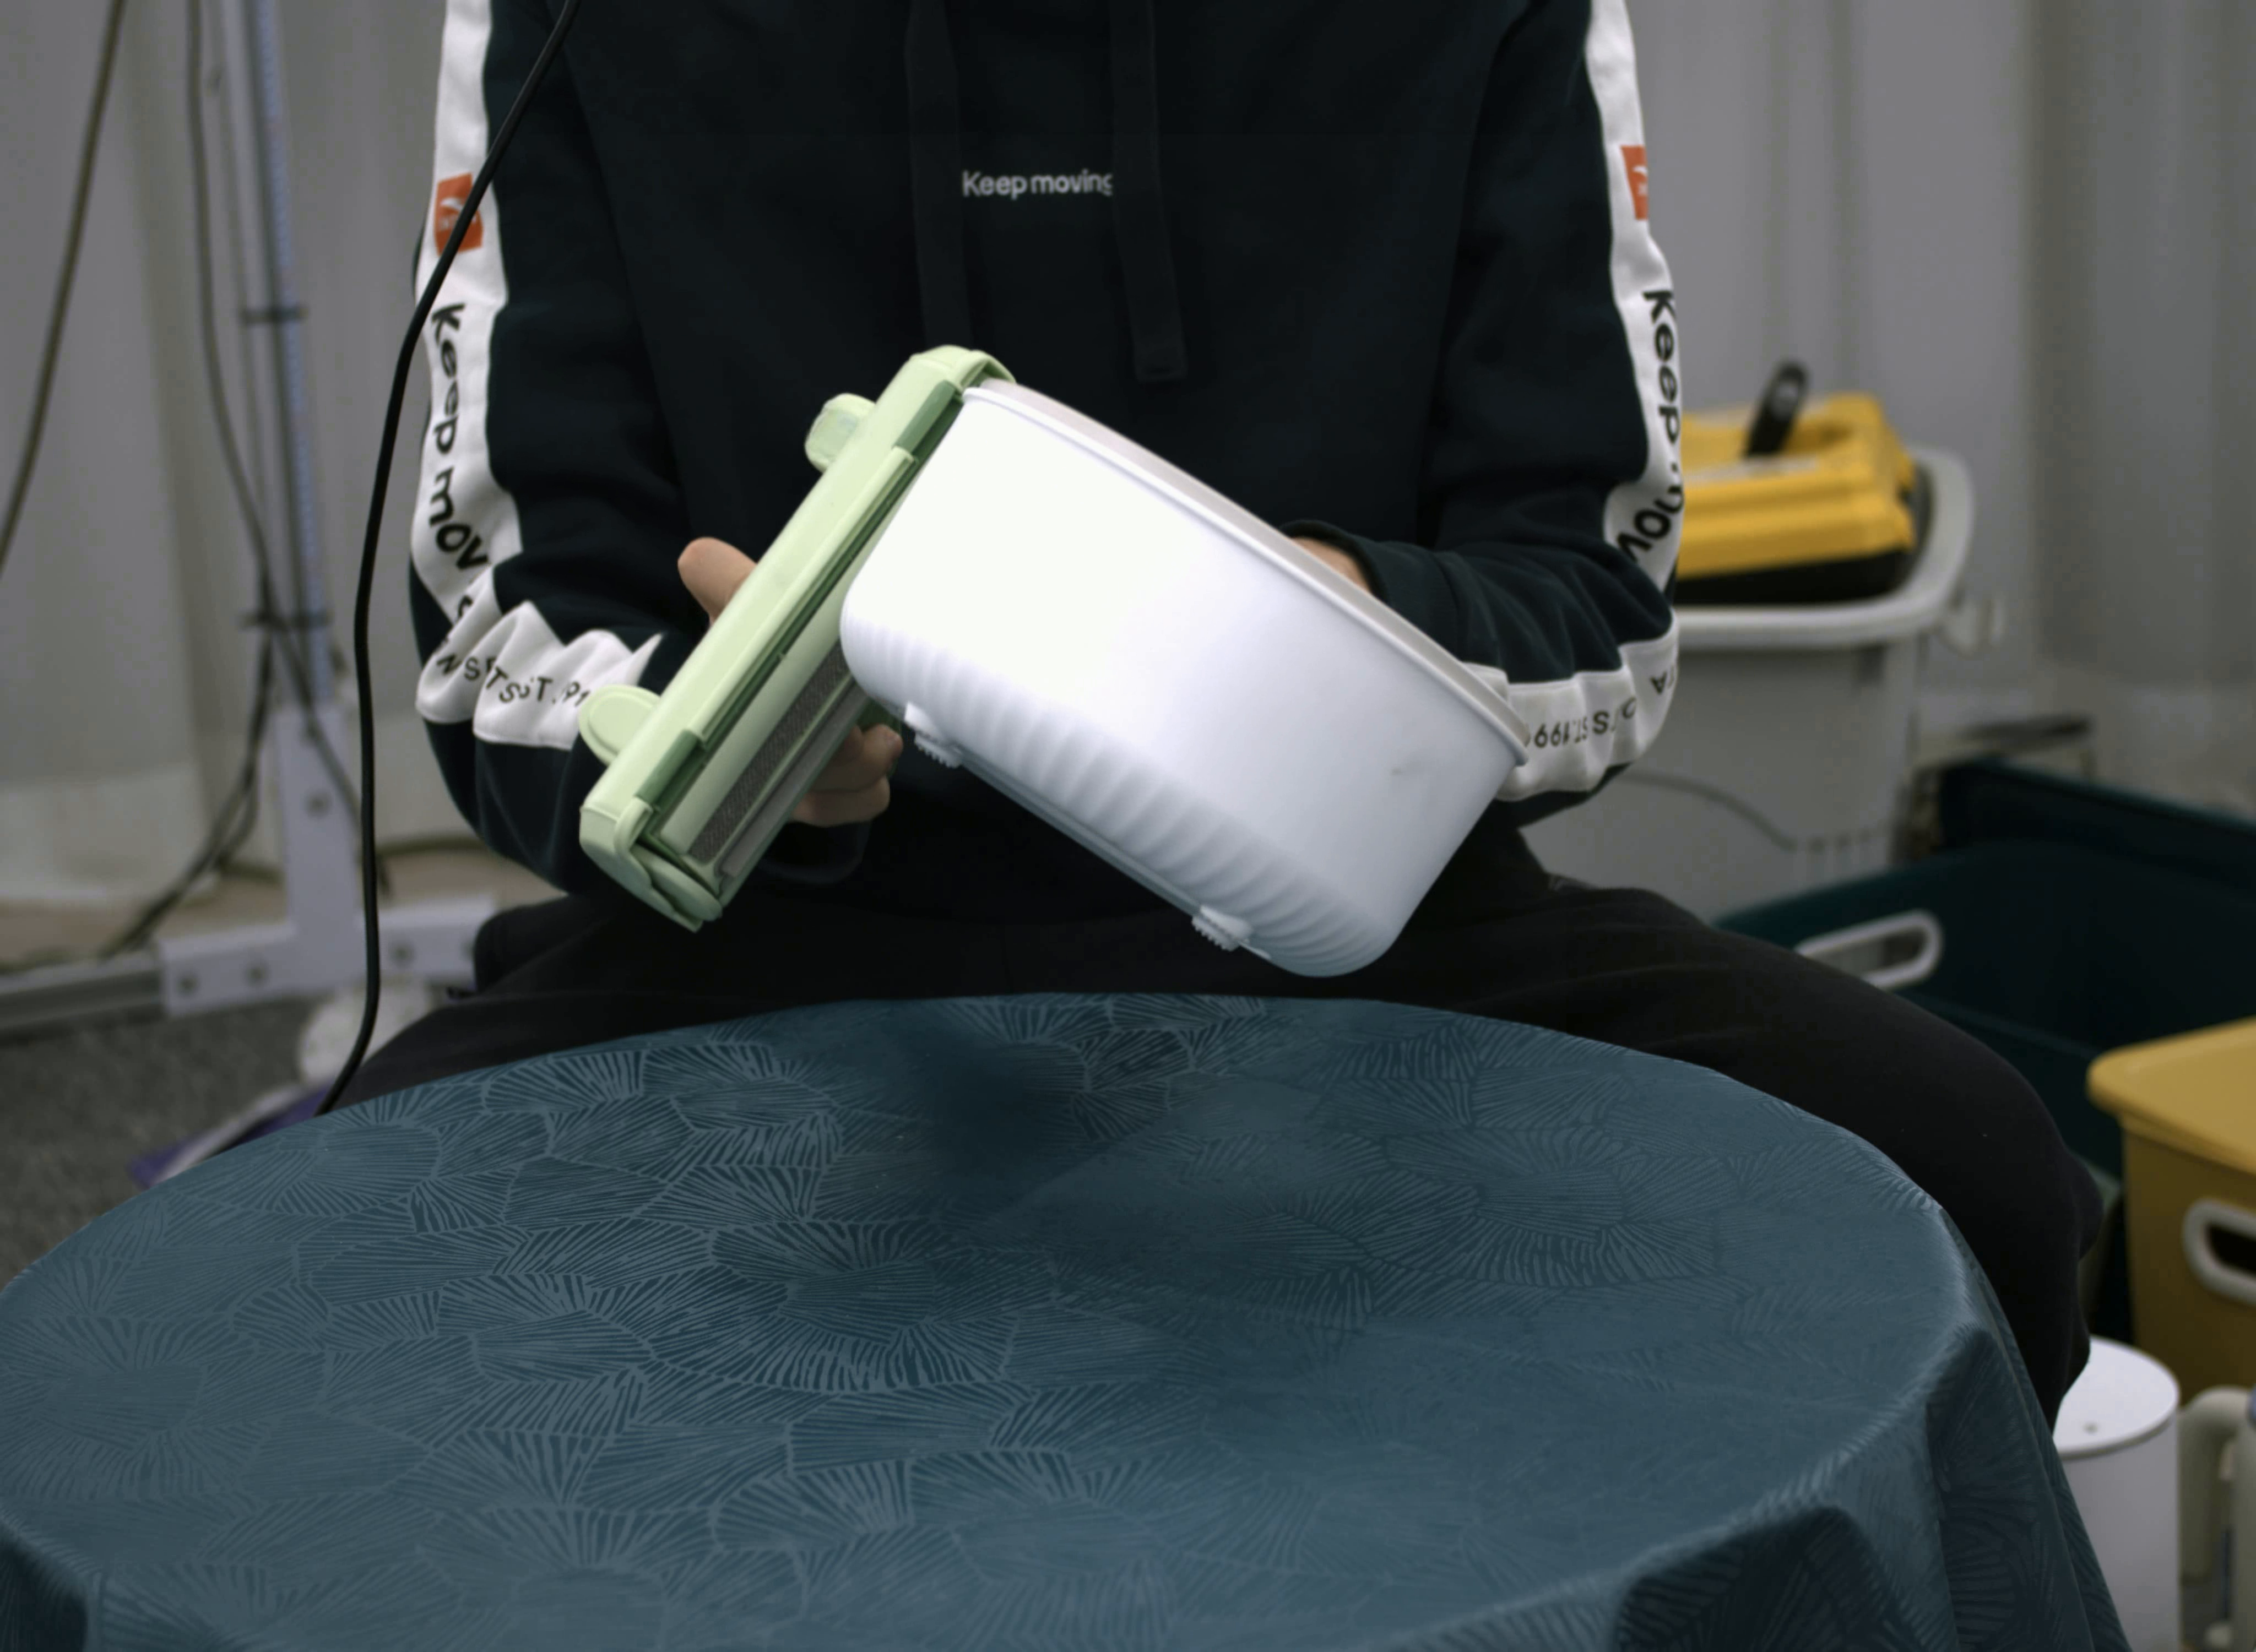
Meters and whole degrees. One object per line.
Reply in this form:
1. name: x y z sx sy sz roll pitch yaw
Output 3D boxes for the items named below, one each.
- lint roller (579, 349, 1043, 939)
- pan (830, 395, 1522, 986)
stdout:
1. lint roller: -0.109 -0.053 1.752 0.082 0.199 0.182 35 -13 -1
2. pan: 0.007 -0.029 1.705 0.201 0.102 0.354 31 -4 1
